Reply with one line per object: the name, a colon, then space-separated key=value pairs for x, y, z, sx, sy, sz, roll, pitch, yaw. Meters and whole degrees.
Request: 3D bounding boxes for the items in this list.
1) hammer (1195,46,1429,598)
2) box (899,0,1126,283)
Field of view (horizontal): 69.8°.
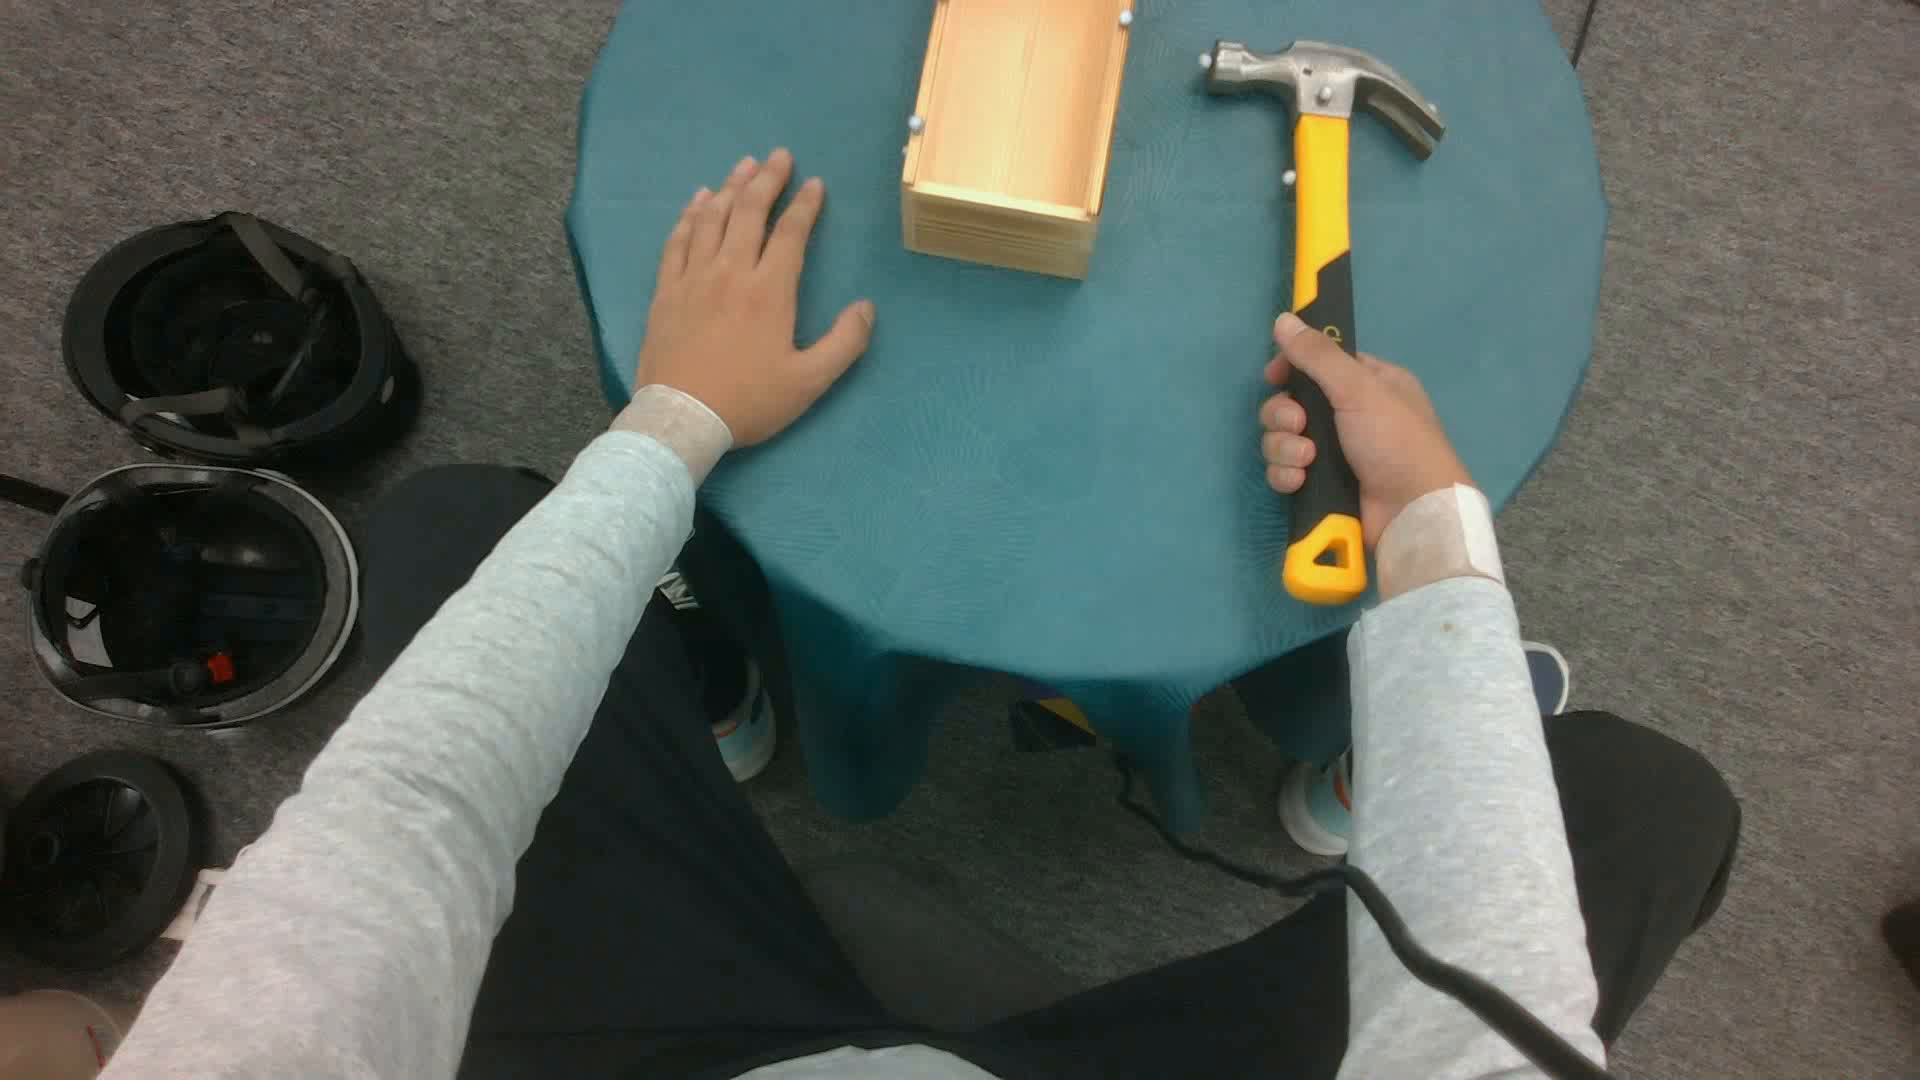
hammer: x=0.199 y=-0.131 z=0.767 sx=0.131 sy=0.032 sz=0.339 roll=4 pitch=70 yaw=-1
box: x=0.034 y=-0.267 z=0.791 sx=0.107 sy=0.080 sz=0.212 roll=8 pitch=76 yaw=1
